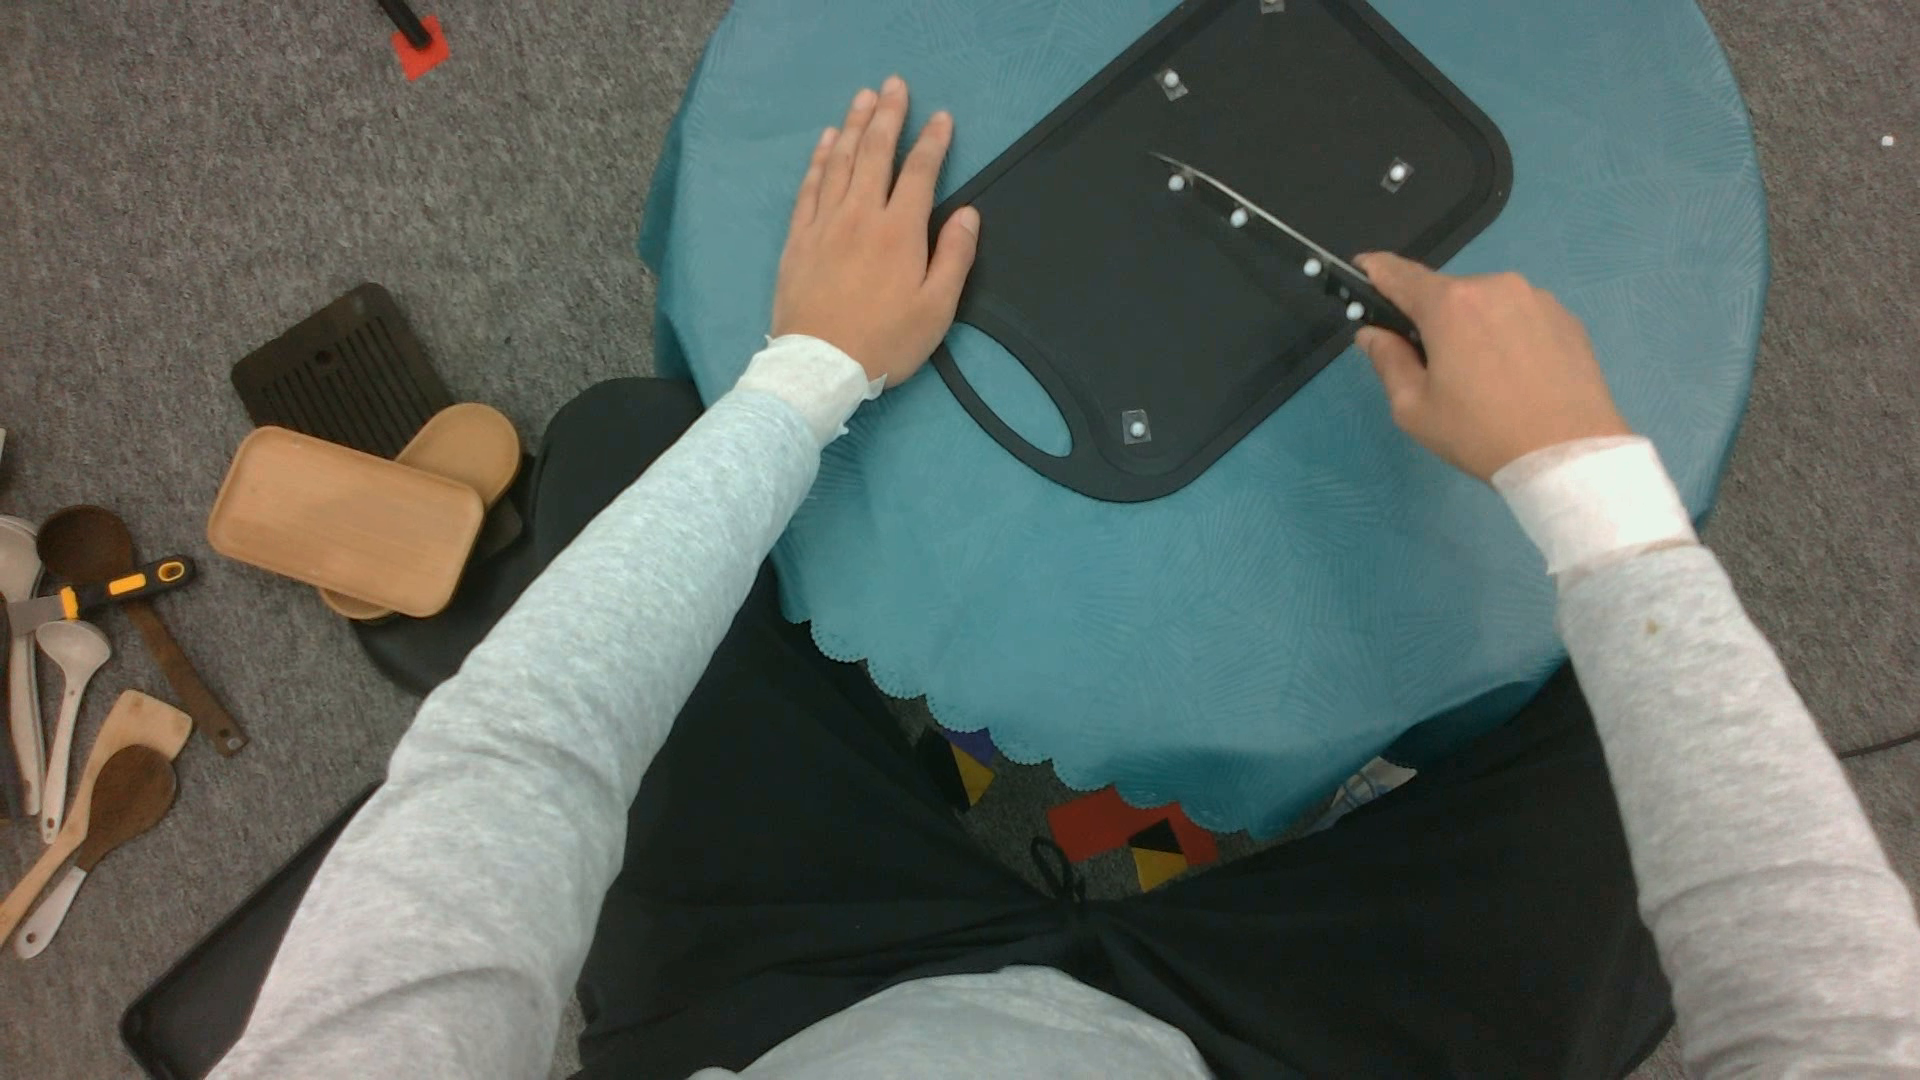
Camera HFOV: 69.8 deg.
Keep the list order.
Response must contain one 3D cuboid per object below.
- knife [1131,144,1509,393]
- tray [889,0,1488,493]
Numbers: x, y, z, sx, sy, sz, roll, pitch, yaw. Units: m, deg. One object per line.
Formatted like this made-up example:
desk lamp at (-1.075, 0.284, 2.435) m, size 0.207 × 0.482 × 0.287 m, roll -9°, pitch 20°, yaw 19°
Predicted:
knife at (0.171, -0.144, 0.684) m, size 0.016 × 0.024 × 0.238 m, roll -40°, pitch 61°, yaw -15°
tray at (0.121, -0.176, 0.756) m, size 0.326 × 0.010 × 0.211 m, roll -40°, pitch 80°, yaw -6°
